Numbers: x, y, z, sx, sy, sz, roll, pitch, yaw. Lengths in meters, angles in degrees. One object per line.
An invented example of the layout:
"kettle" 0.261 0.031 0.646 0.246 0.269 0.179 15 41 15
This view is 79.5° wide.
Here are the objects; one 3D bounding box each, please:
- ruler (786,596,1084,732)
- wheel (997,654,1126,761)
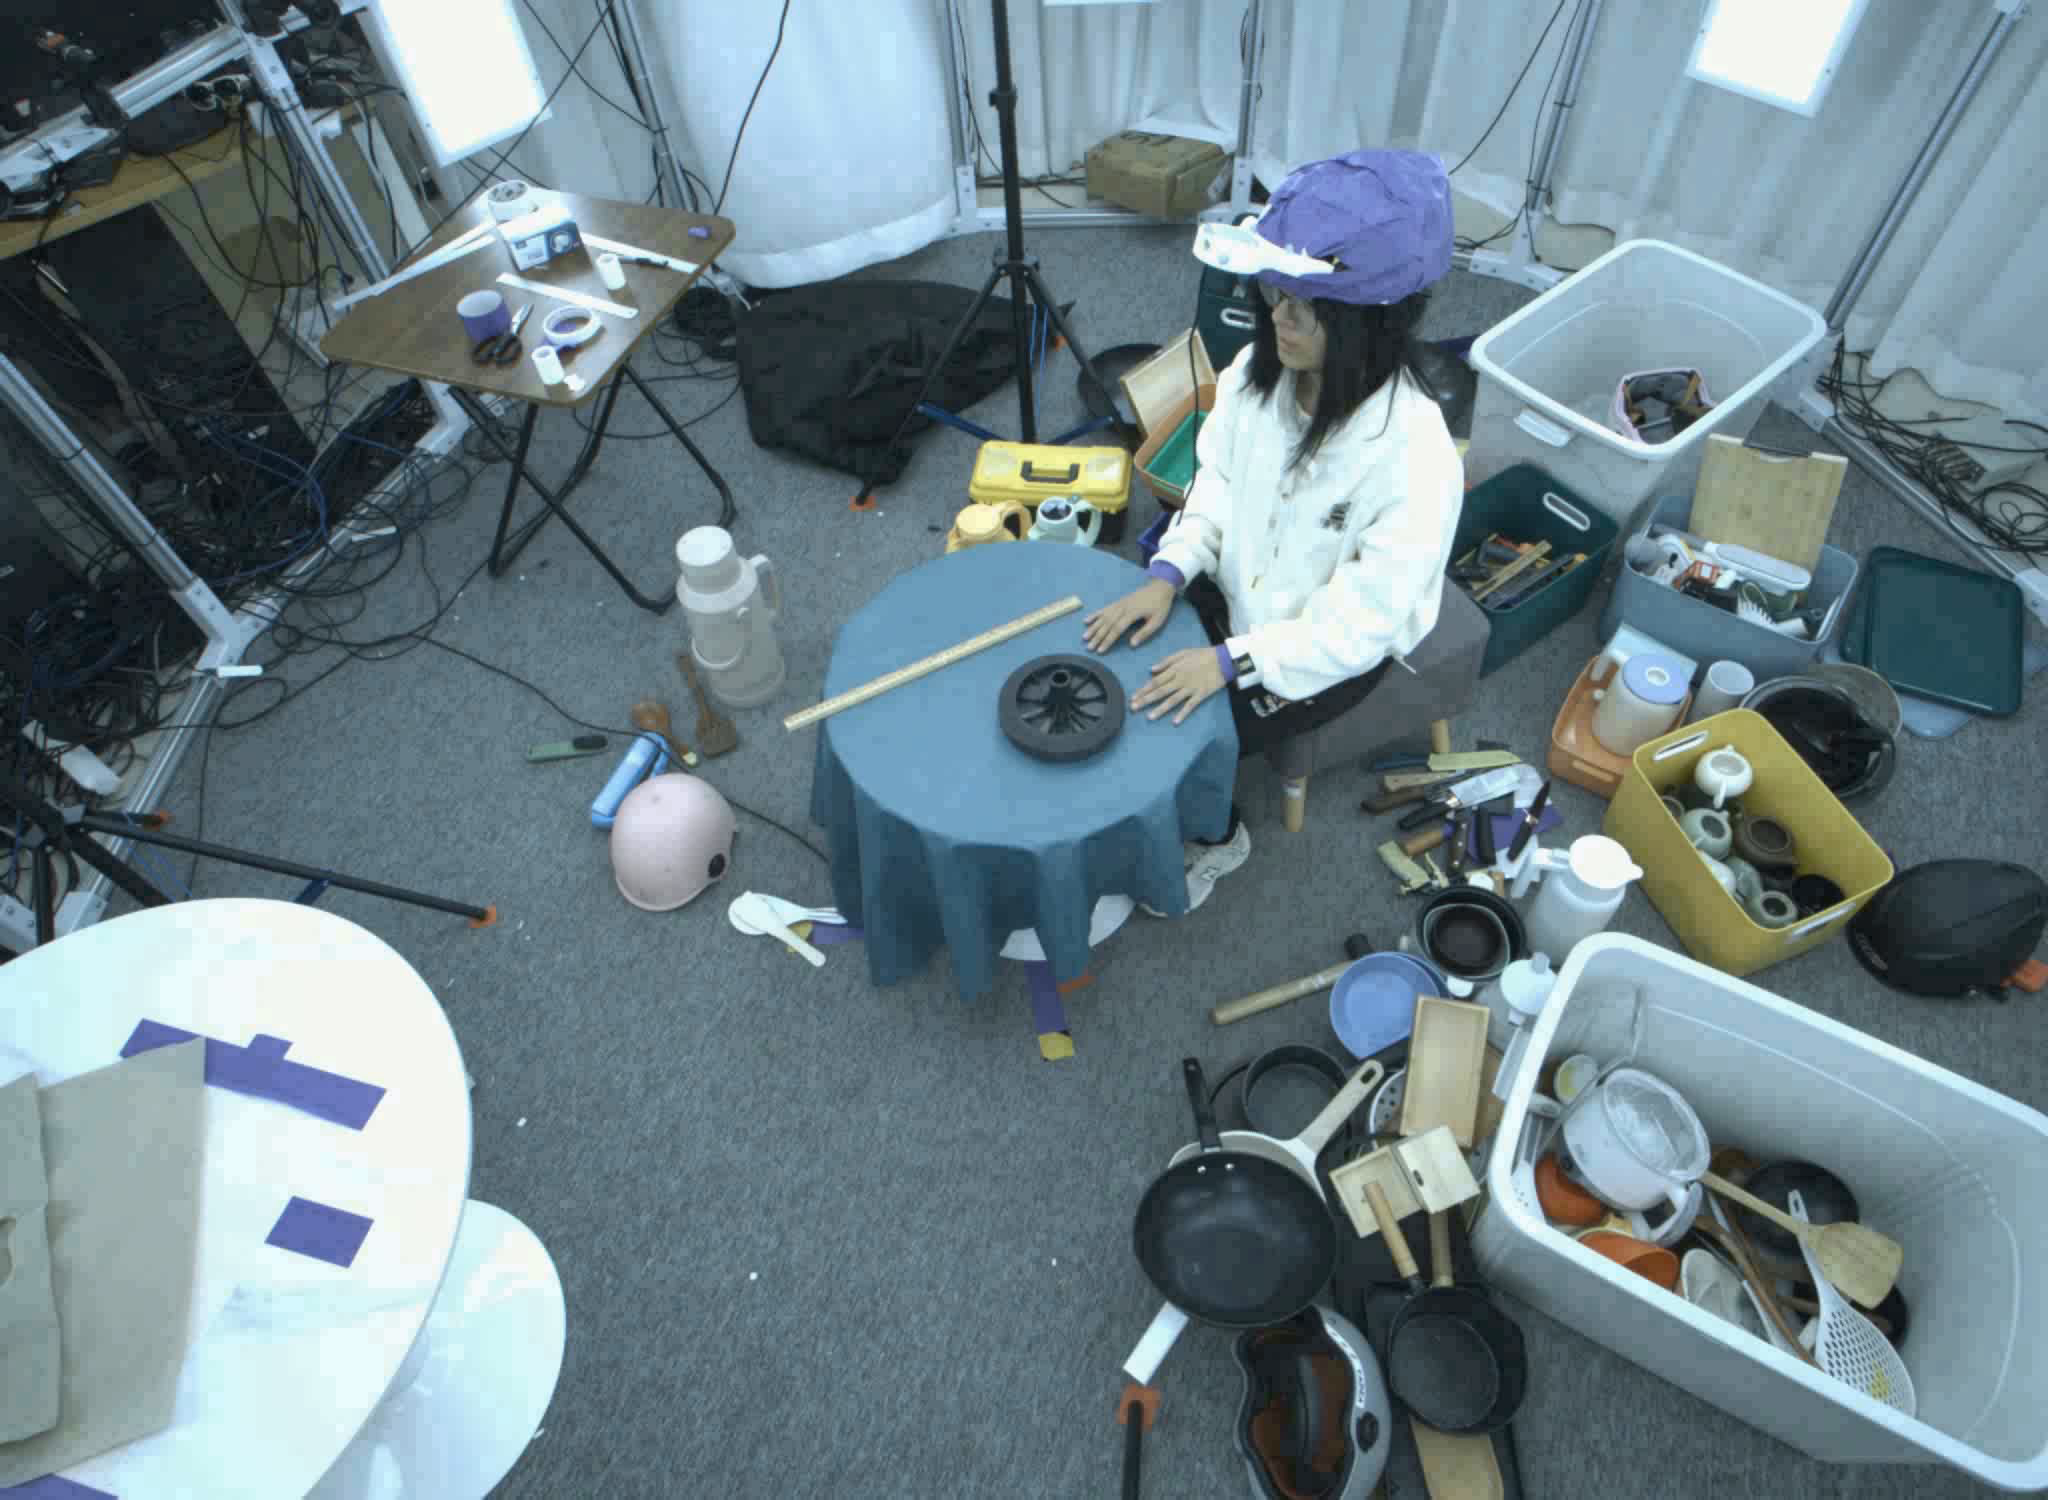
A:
"ruler" -0.133 -0.138 1.887 0.504 0.006 0.026 -24 56 -15
"wheel" 0.054 -0.077 1.794 0.187 0.080 0.188 22 58 16
